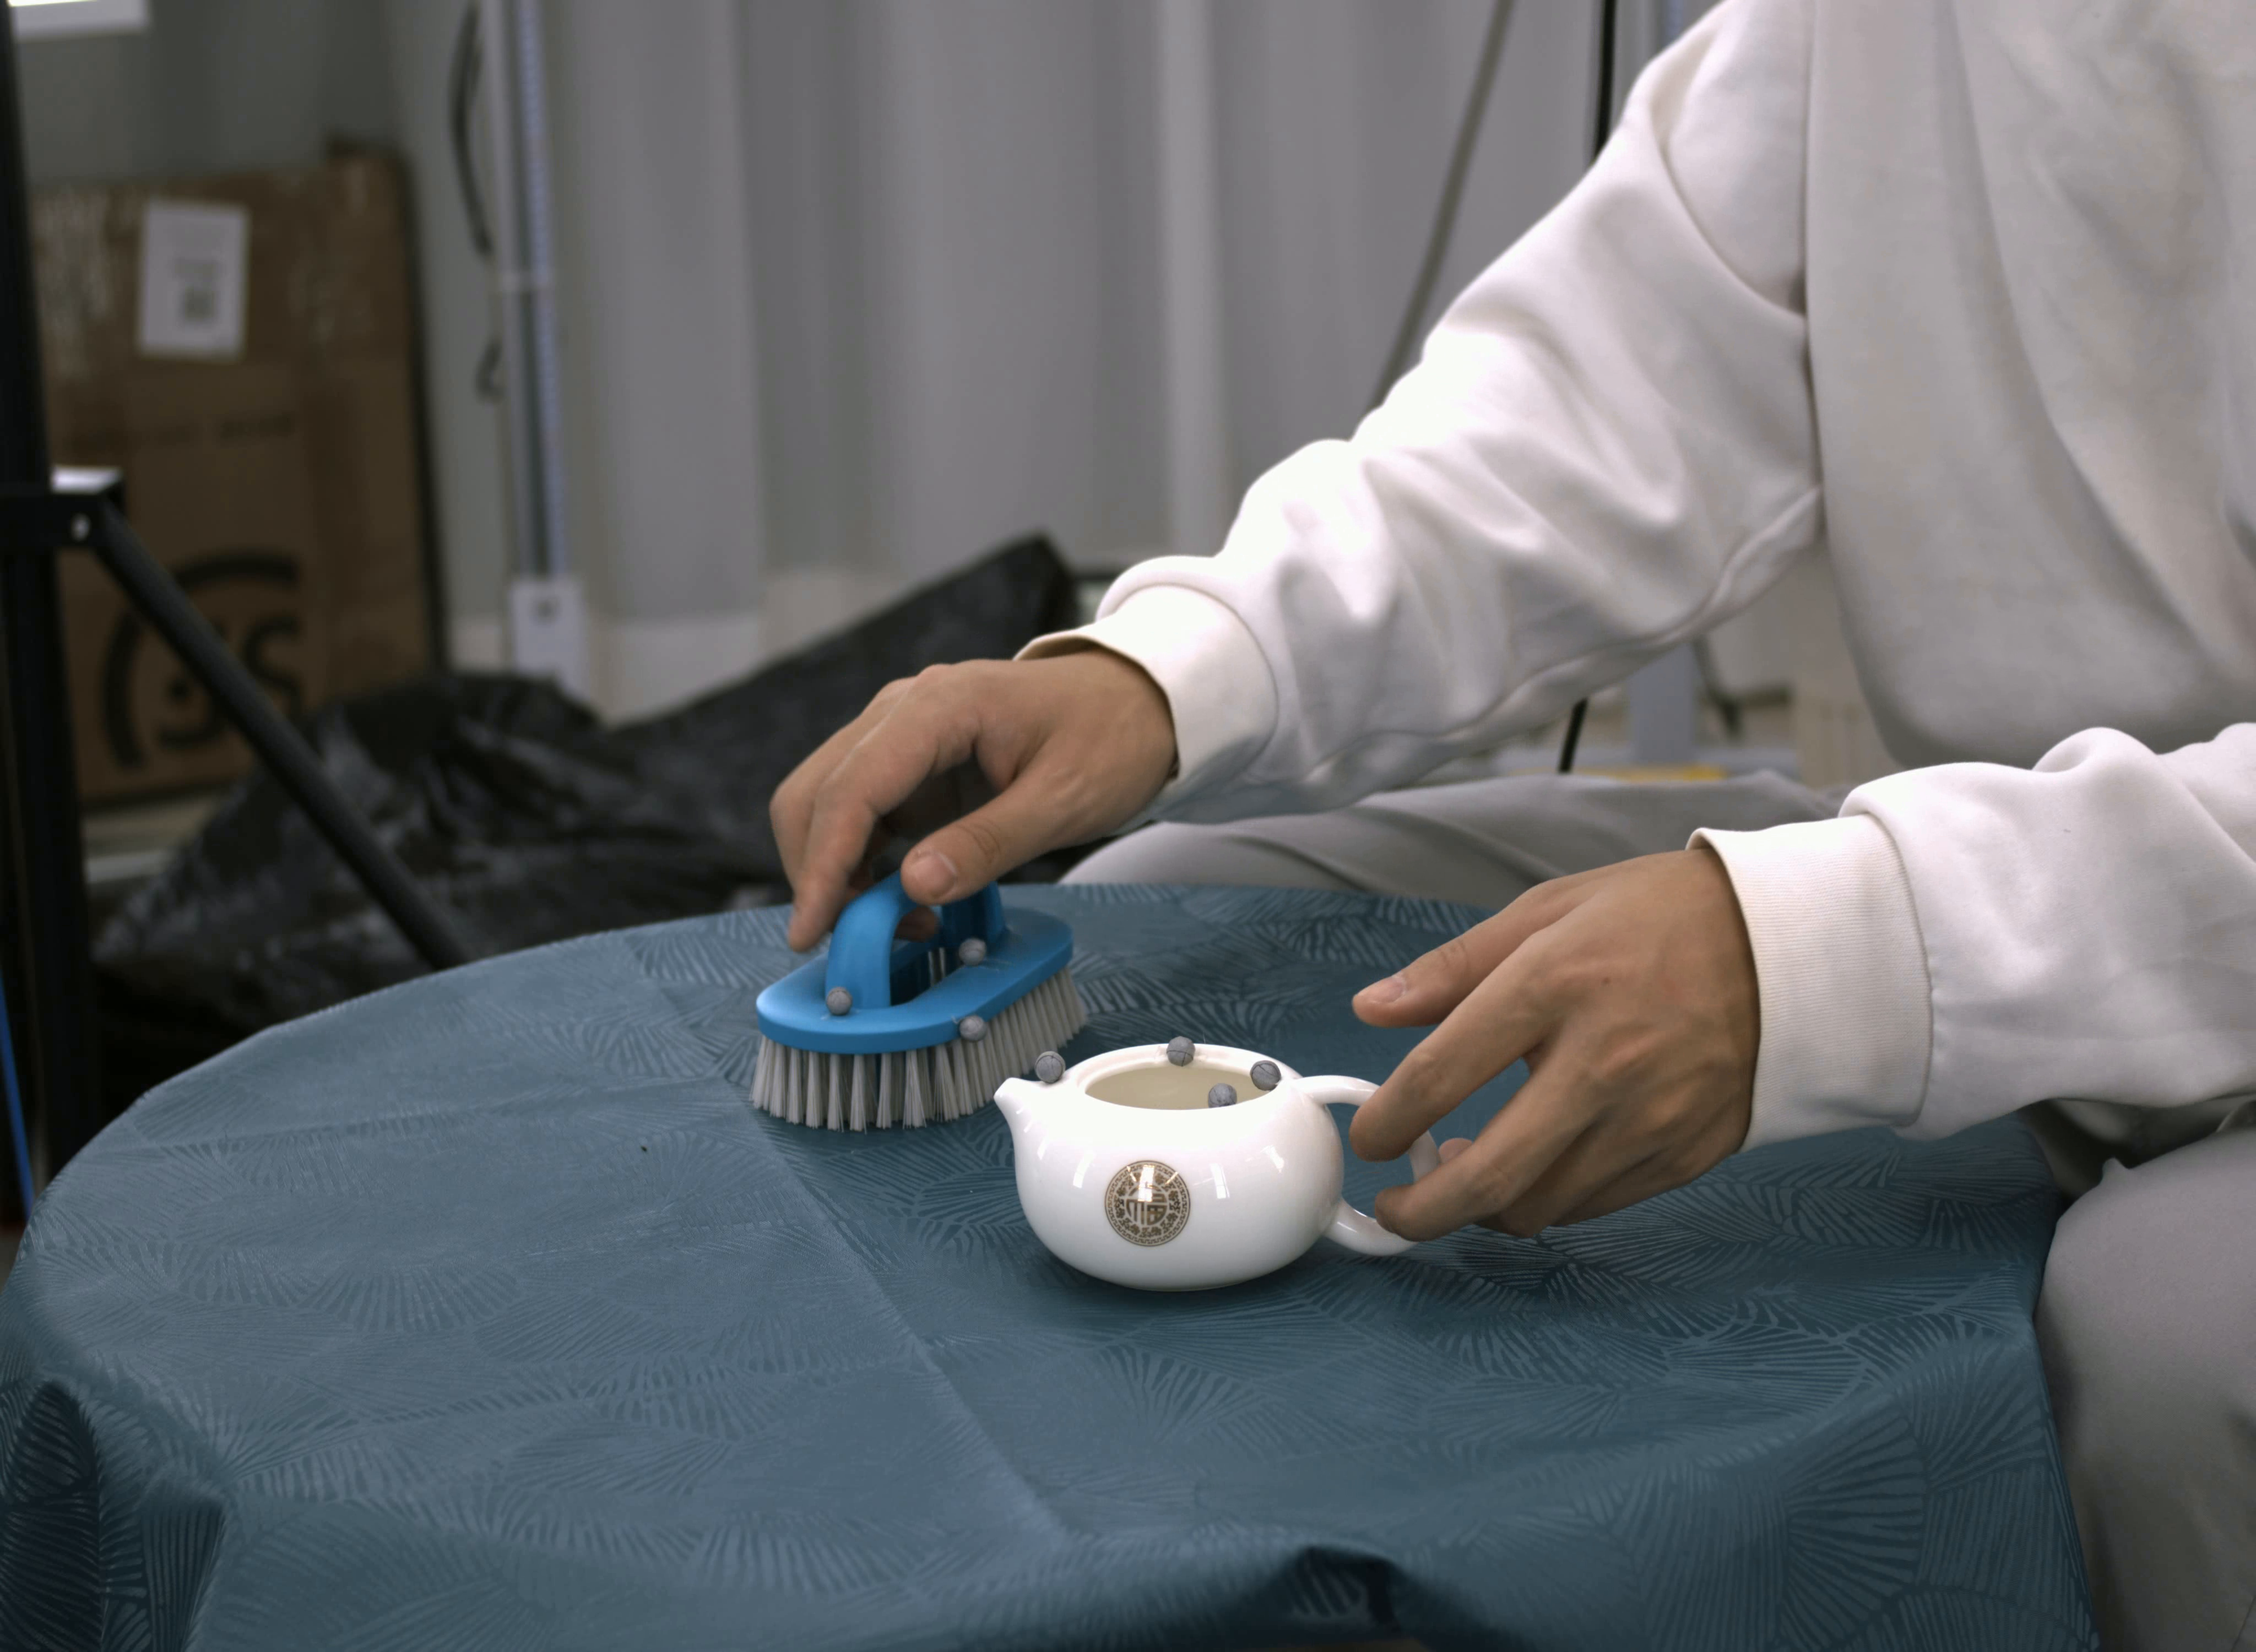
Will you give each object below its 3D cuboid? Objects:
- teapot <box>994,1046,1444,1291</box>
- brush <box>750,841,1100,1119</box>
[{"bbox_3d":[0.026,0.097,1.496,0.127,0.057,0.093,-1,11,1],"label":"teapot"},{"bbox_3d":[-0.066,0.043,1.679,0.085,0.064,0.139,0,15,26],"label":"brush"}]
